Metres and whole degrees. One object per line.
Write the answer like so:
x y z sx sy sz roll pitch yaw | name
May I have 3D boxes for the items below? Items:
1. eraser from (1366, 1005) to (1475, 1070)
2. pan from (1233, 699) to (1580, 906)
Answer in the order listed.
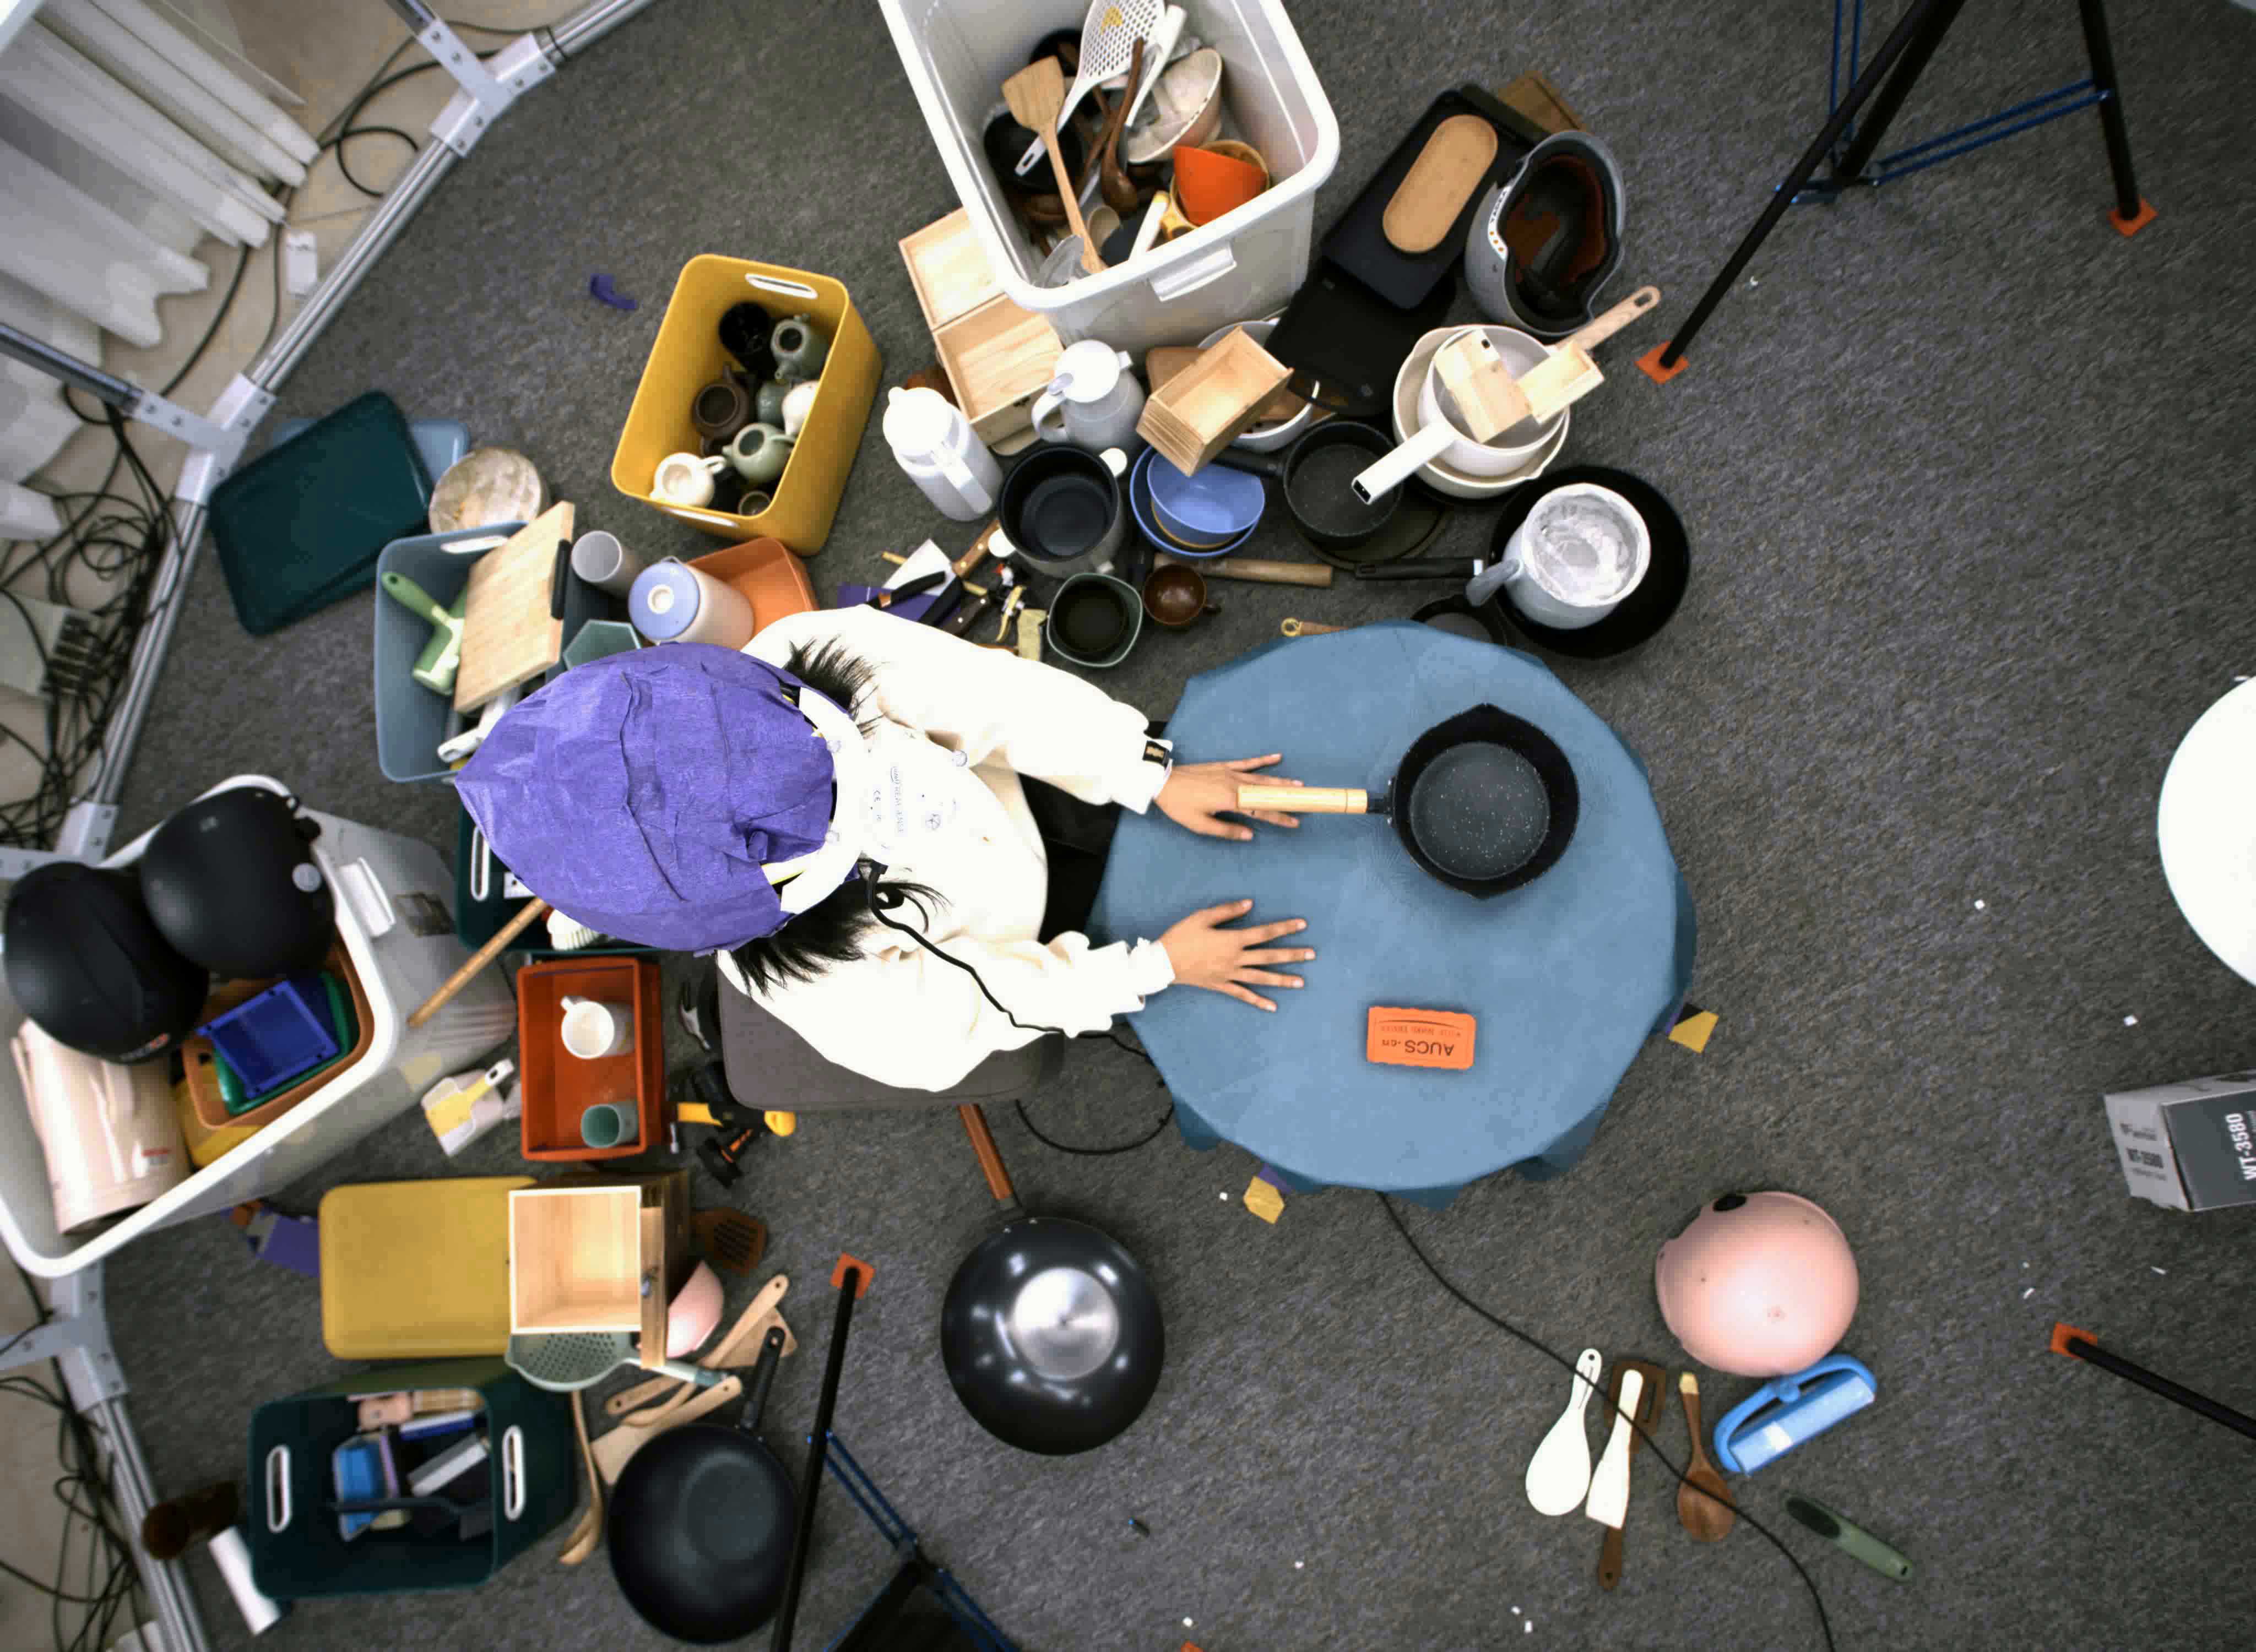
0.303 0.217 1.434 0.108 0.023 0.059 4 89 11 | eraser
0.281 -0.022 1.408 0.344 0.108 0.207 -1 87 9 | pan
